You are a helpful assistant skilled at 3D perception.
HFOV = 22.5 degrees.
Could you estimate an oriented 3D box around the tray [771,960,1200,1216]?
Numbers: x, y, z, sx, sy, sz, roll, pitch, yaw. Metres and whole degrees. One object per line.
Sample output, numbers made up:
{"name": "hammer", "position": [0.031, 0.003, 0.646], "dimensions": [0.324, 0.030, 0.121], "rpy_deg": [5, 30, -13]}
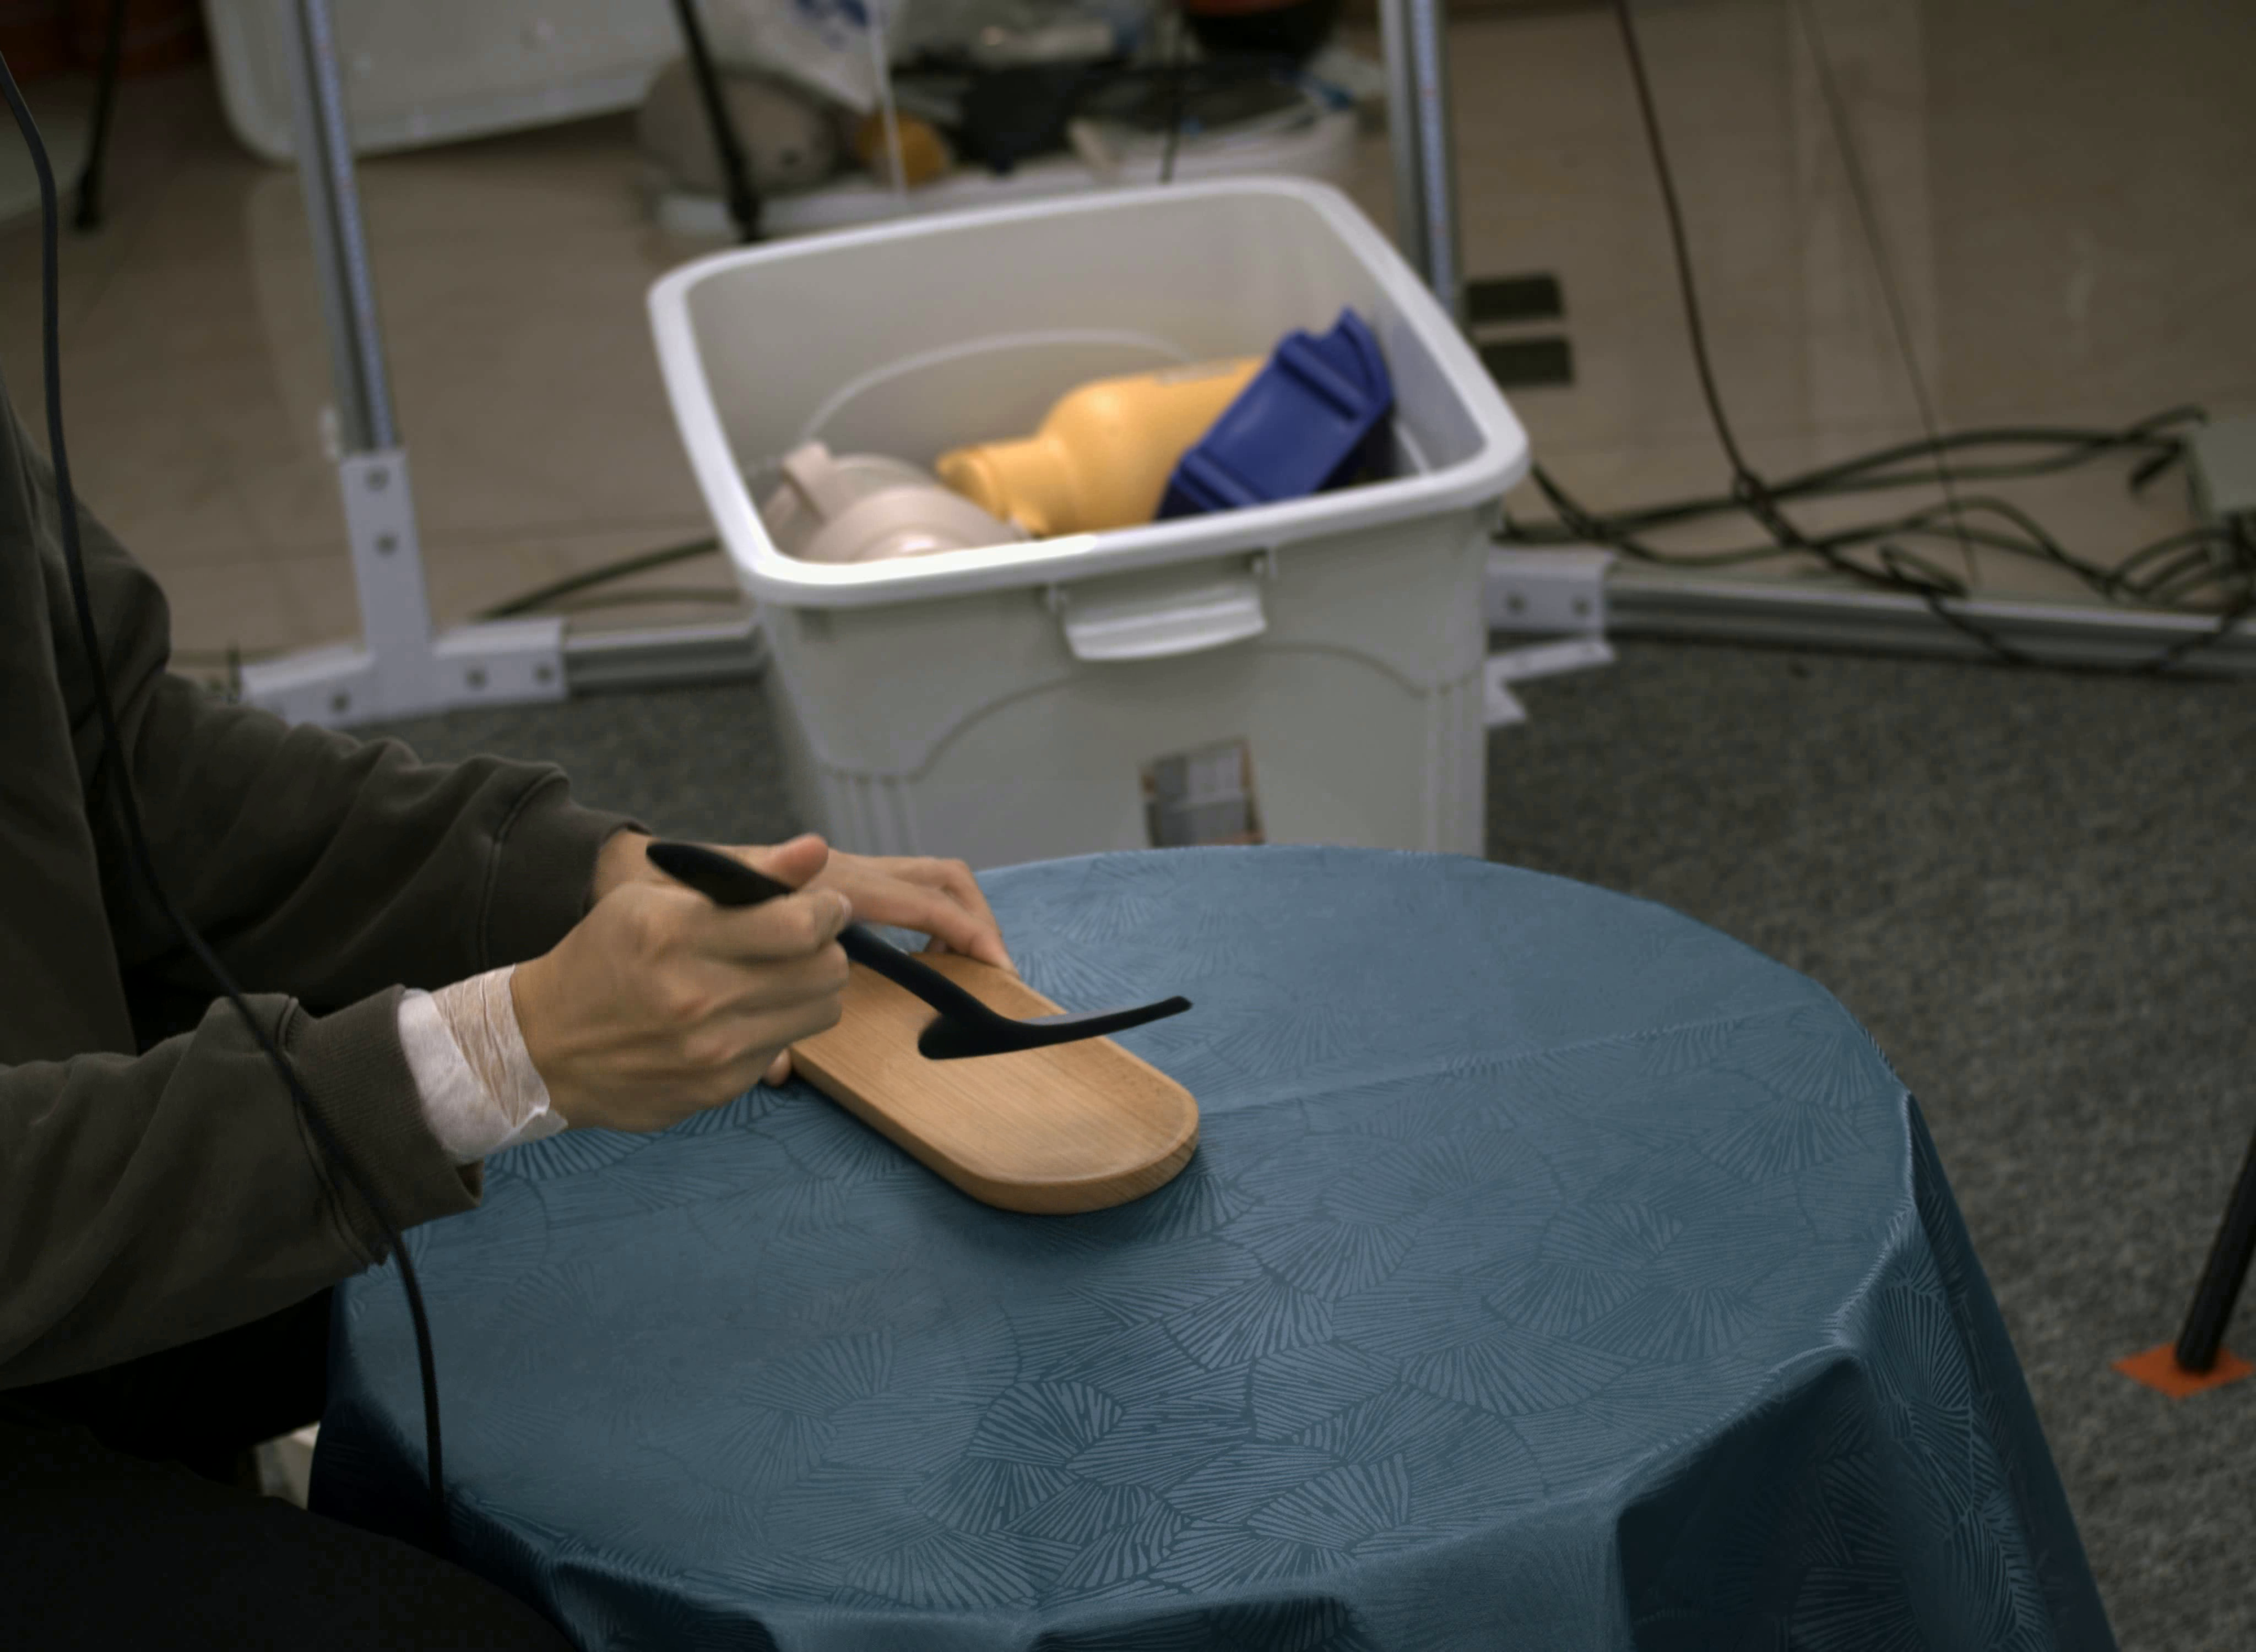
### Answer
{"name": "tray", "position": [-0.057, 0.101, 2.221], "dimensions": [0.101, 0.020, 0.228], "rpy_deg": [-20, 29, -27]}

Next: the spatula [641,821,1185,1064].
{"name": "spatula", "position": [-0.087, 0.040, 1.998], "dimensions": [0.100, 0.329, 0.040], "rpy_deg": [-10, 67, 23]}
